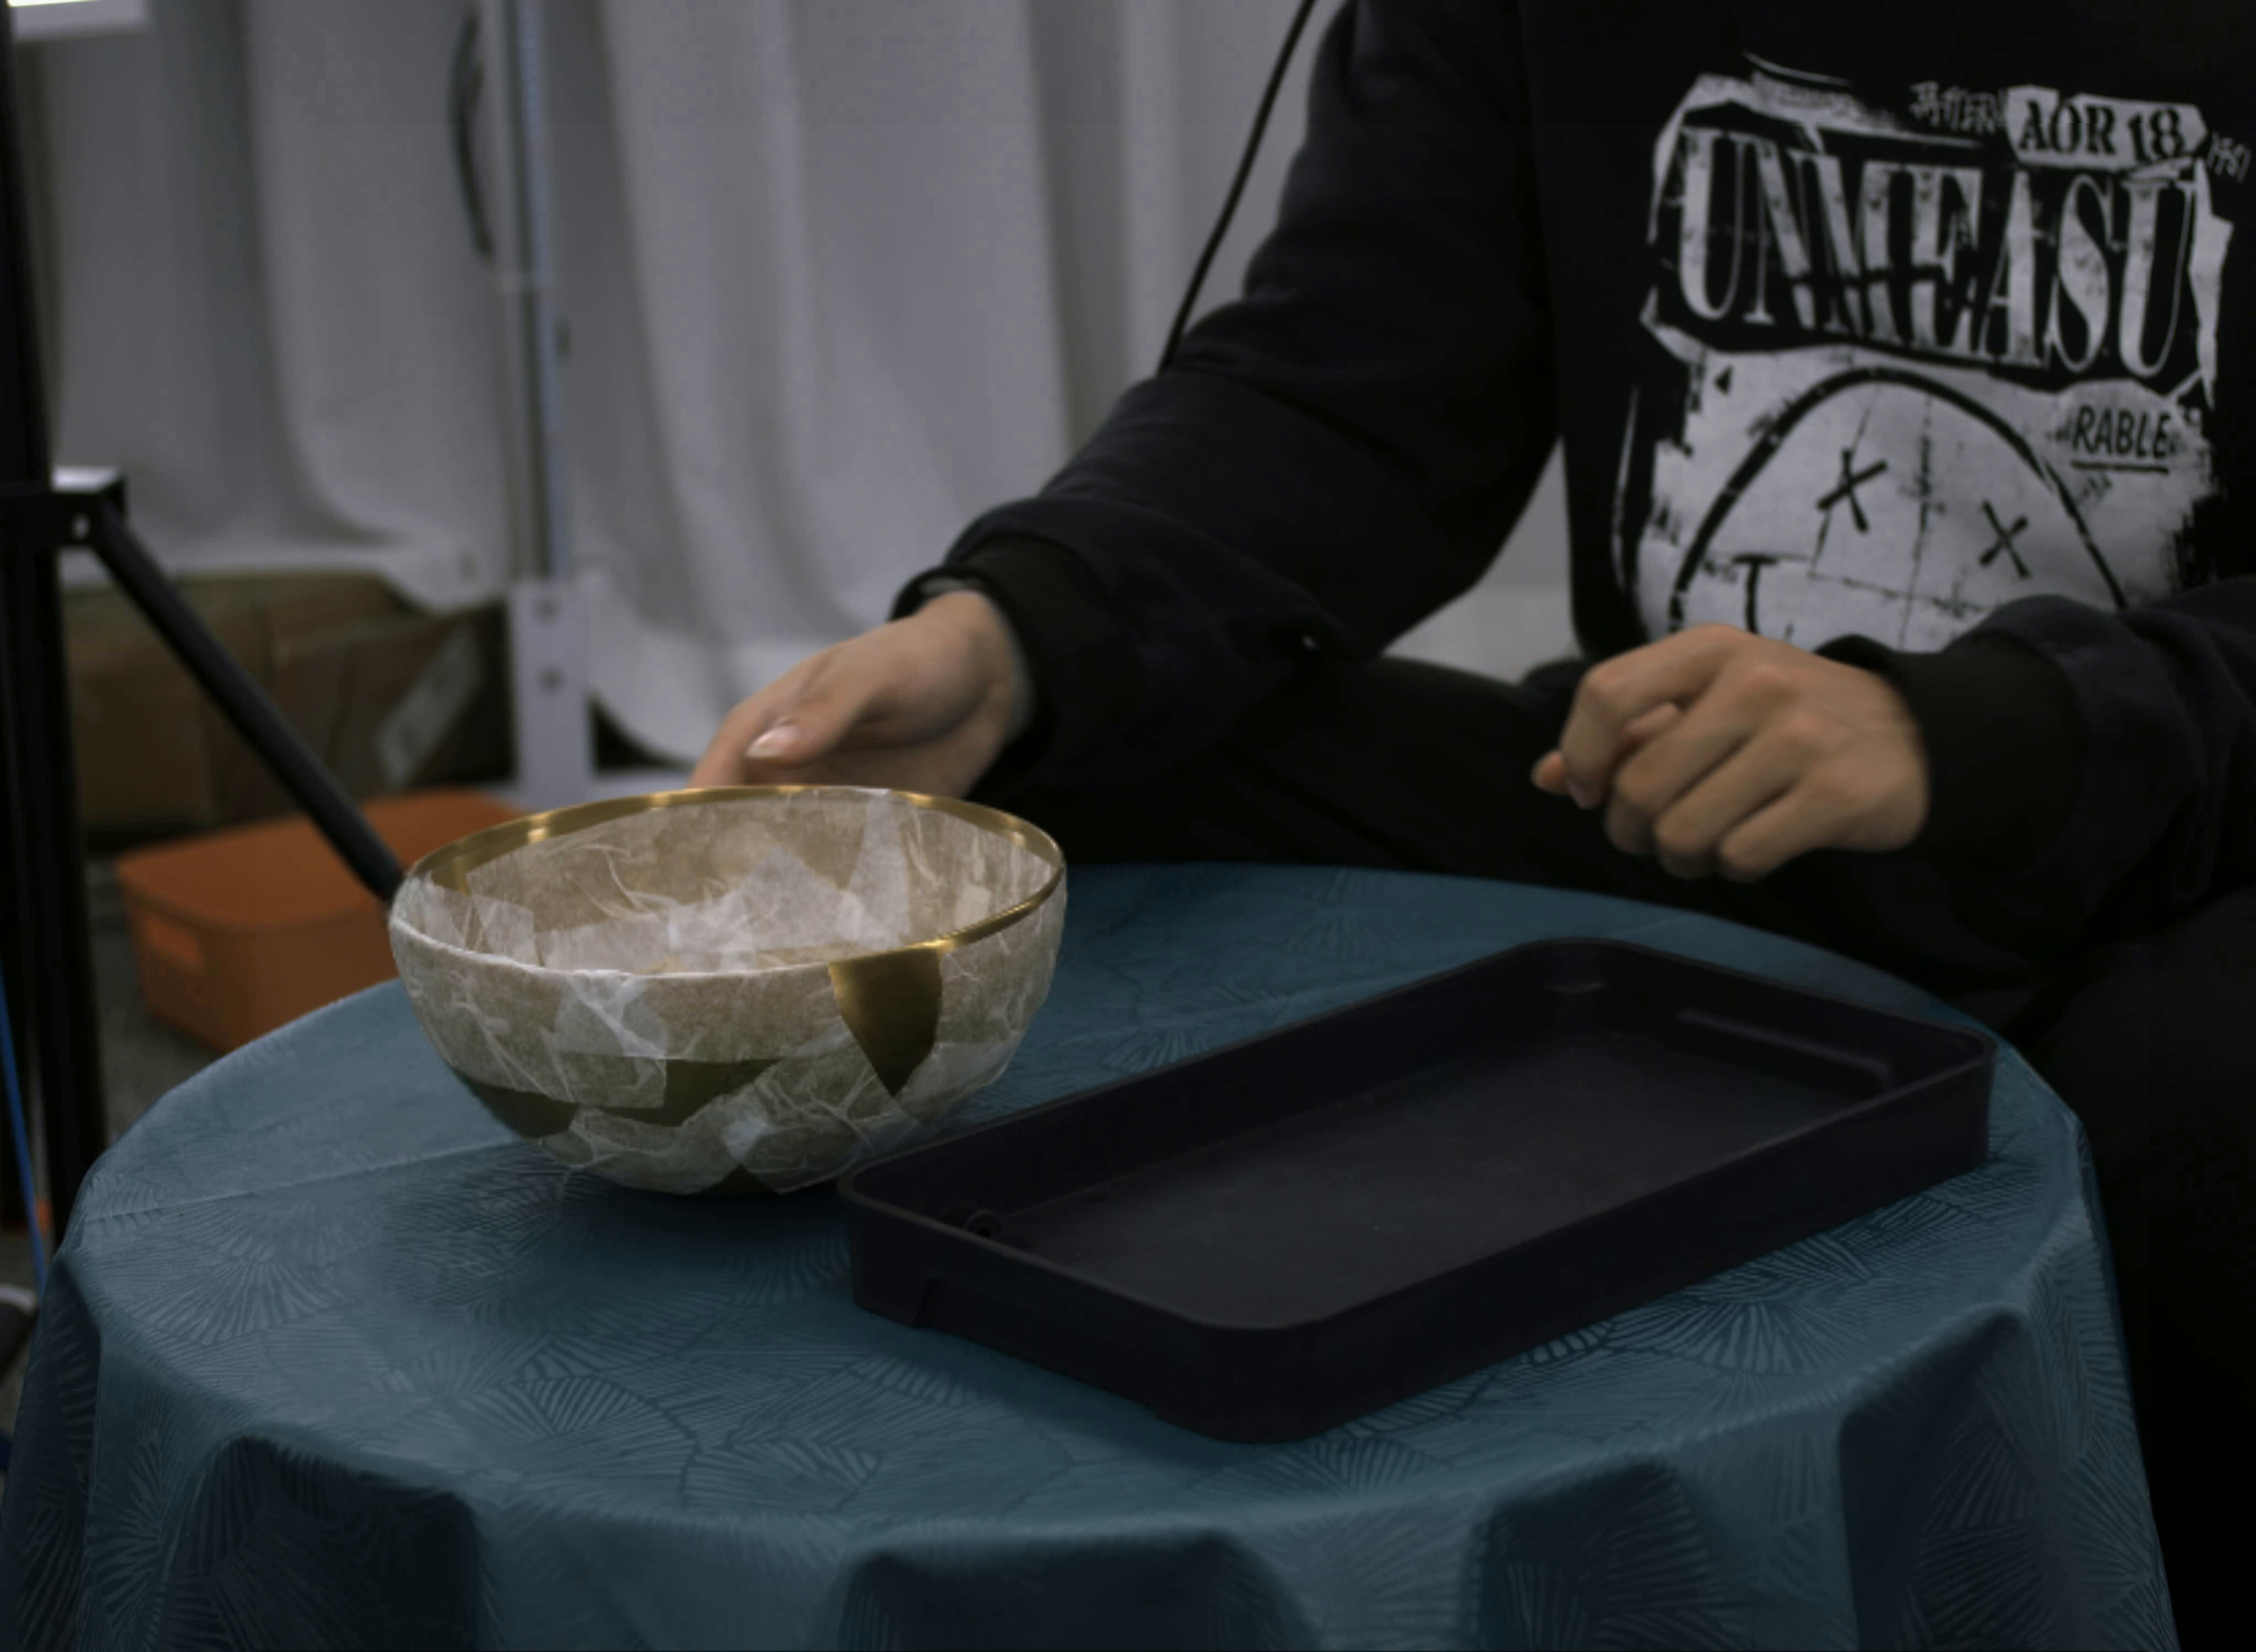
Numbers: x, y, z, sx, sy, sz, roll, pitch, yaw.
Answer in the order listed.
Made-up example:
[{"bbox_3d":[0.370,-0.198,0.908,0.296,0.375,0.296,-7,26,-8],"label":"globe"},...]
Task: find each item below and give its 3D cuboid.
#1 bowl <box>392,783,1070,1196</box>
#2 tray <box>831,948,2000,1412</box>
[{"bbox_3d":[-0.112,0.056,1.593,0.213,0.094,0.216,-4,15,0],"label":"bowl"},{"bbox_3d":[0.086,0.095,1.513,0.310,0.037,0.188,-13,17,-39],"label":"tray"}]
